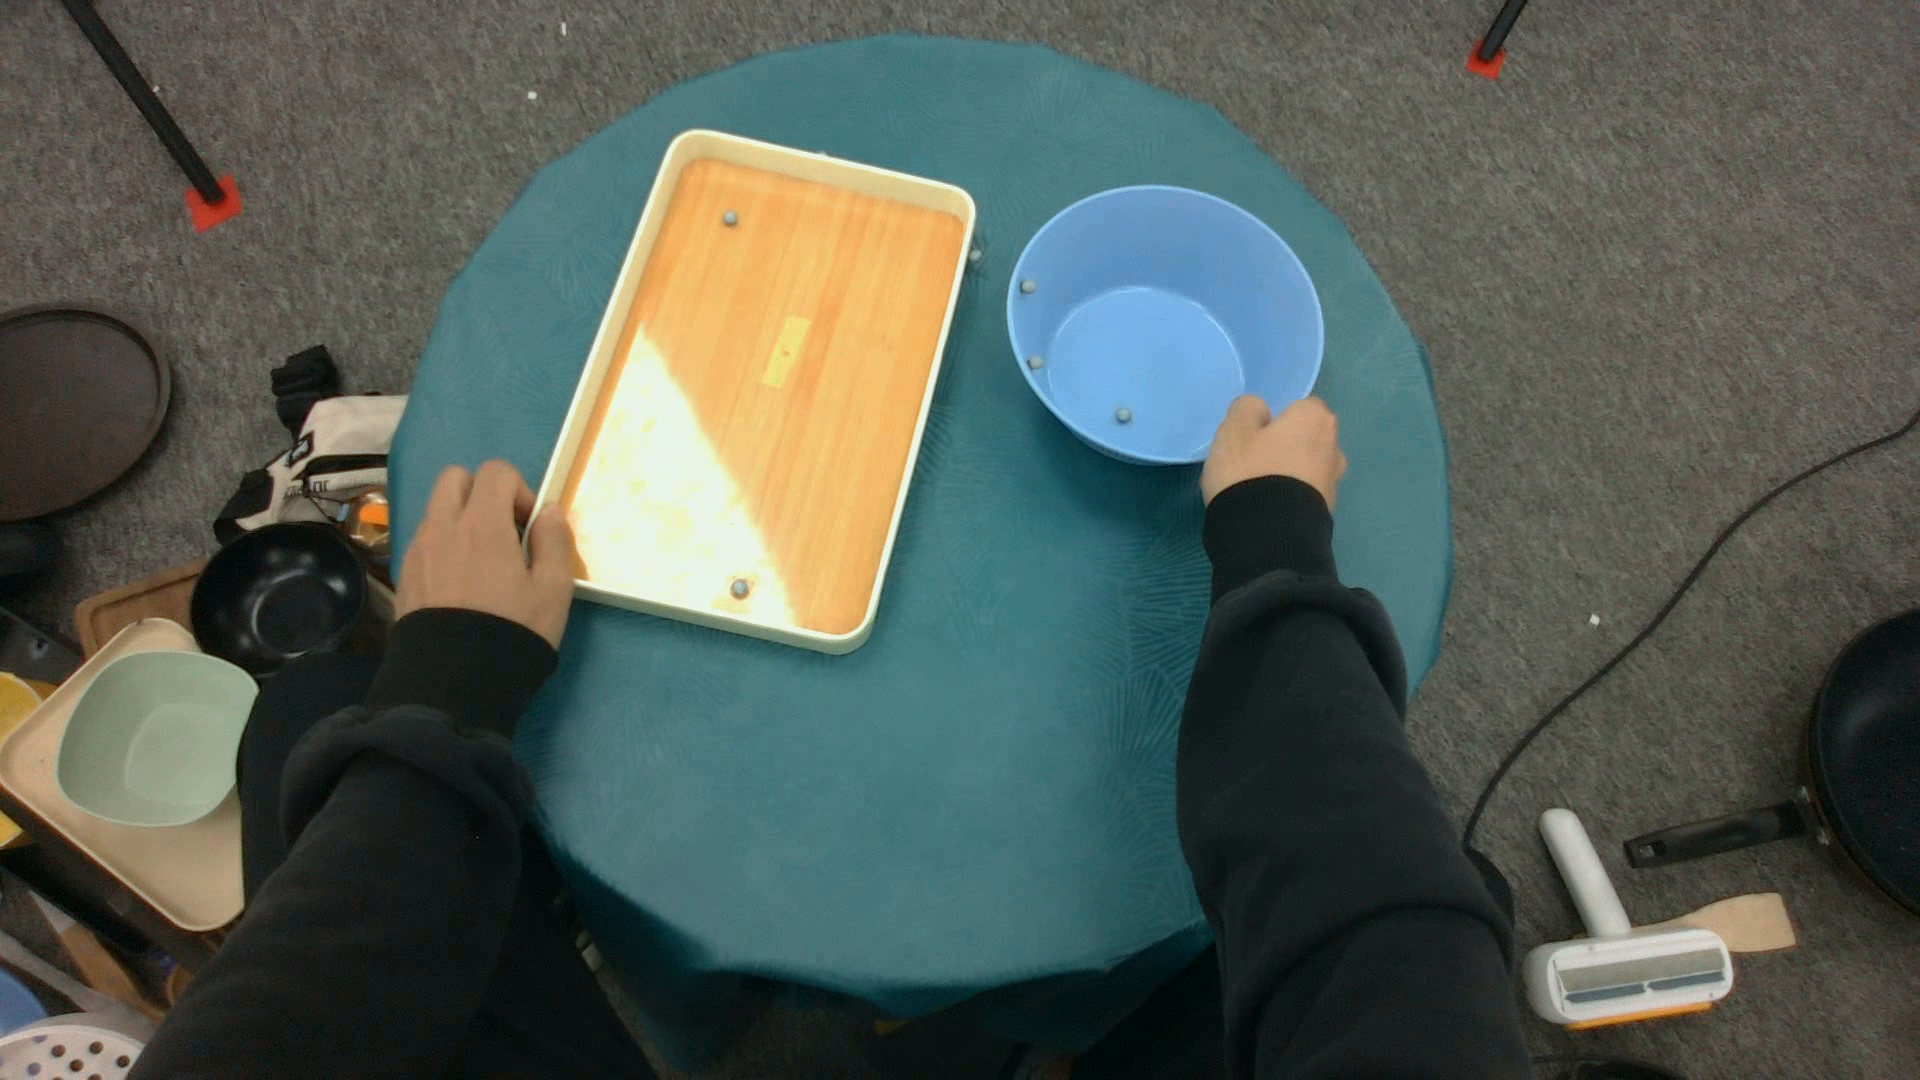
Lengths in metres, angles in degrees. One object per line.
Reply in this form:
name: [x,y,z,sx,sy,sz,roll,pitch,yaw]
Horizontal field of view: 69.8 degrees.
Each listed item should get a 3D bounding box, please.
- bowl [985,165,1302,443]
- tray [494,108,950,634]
bowl: [0.099,-0.122,0.784,0.176,0.070,0.176,2,67,-4]
tray: [-0.125,-0.105,0.781,0.191,0.027,0.301,13,67,0]
